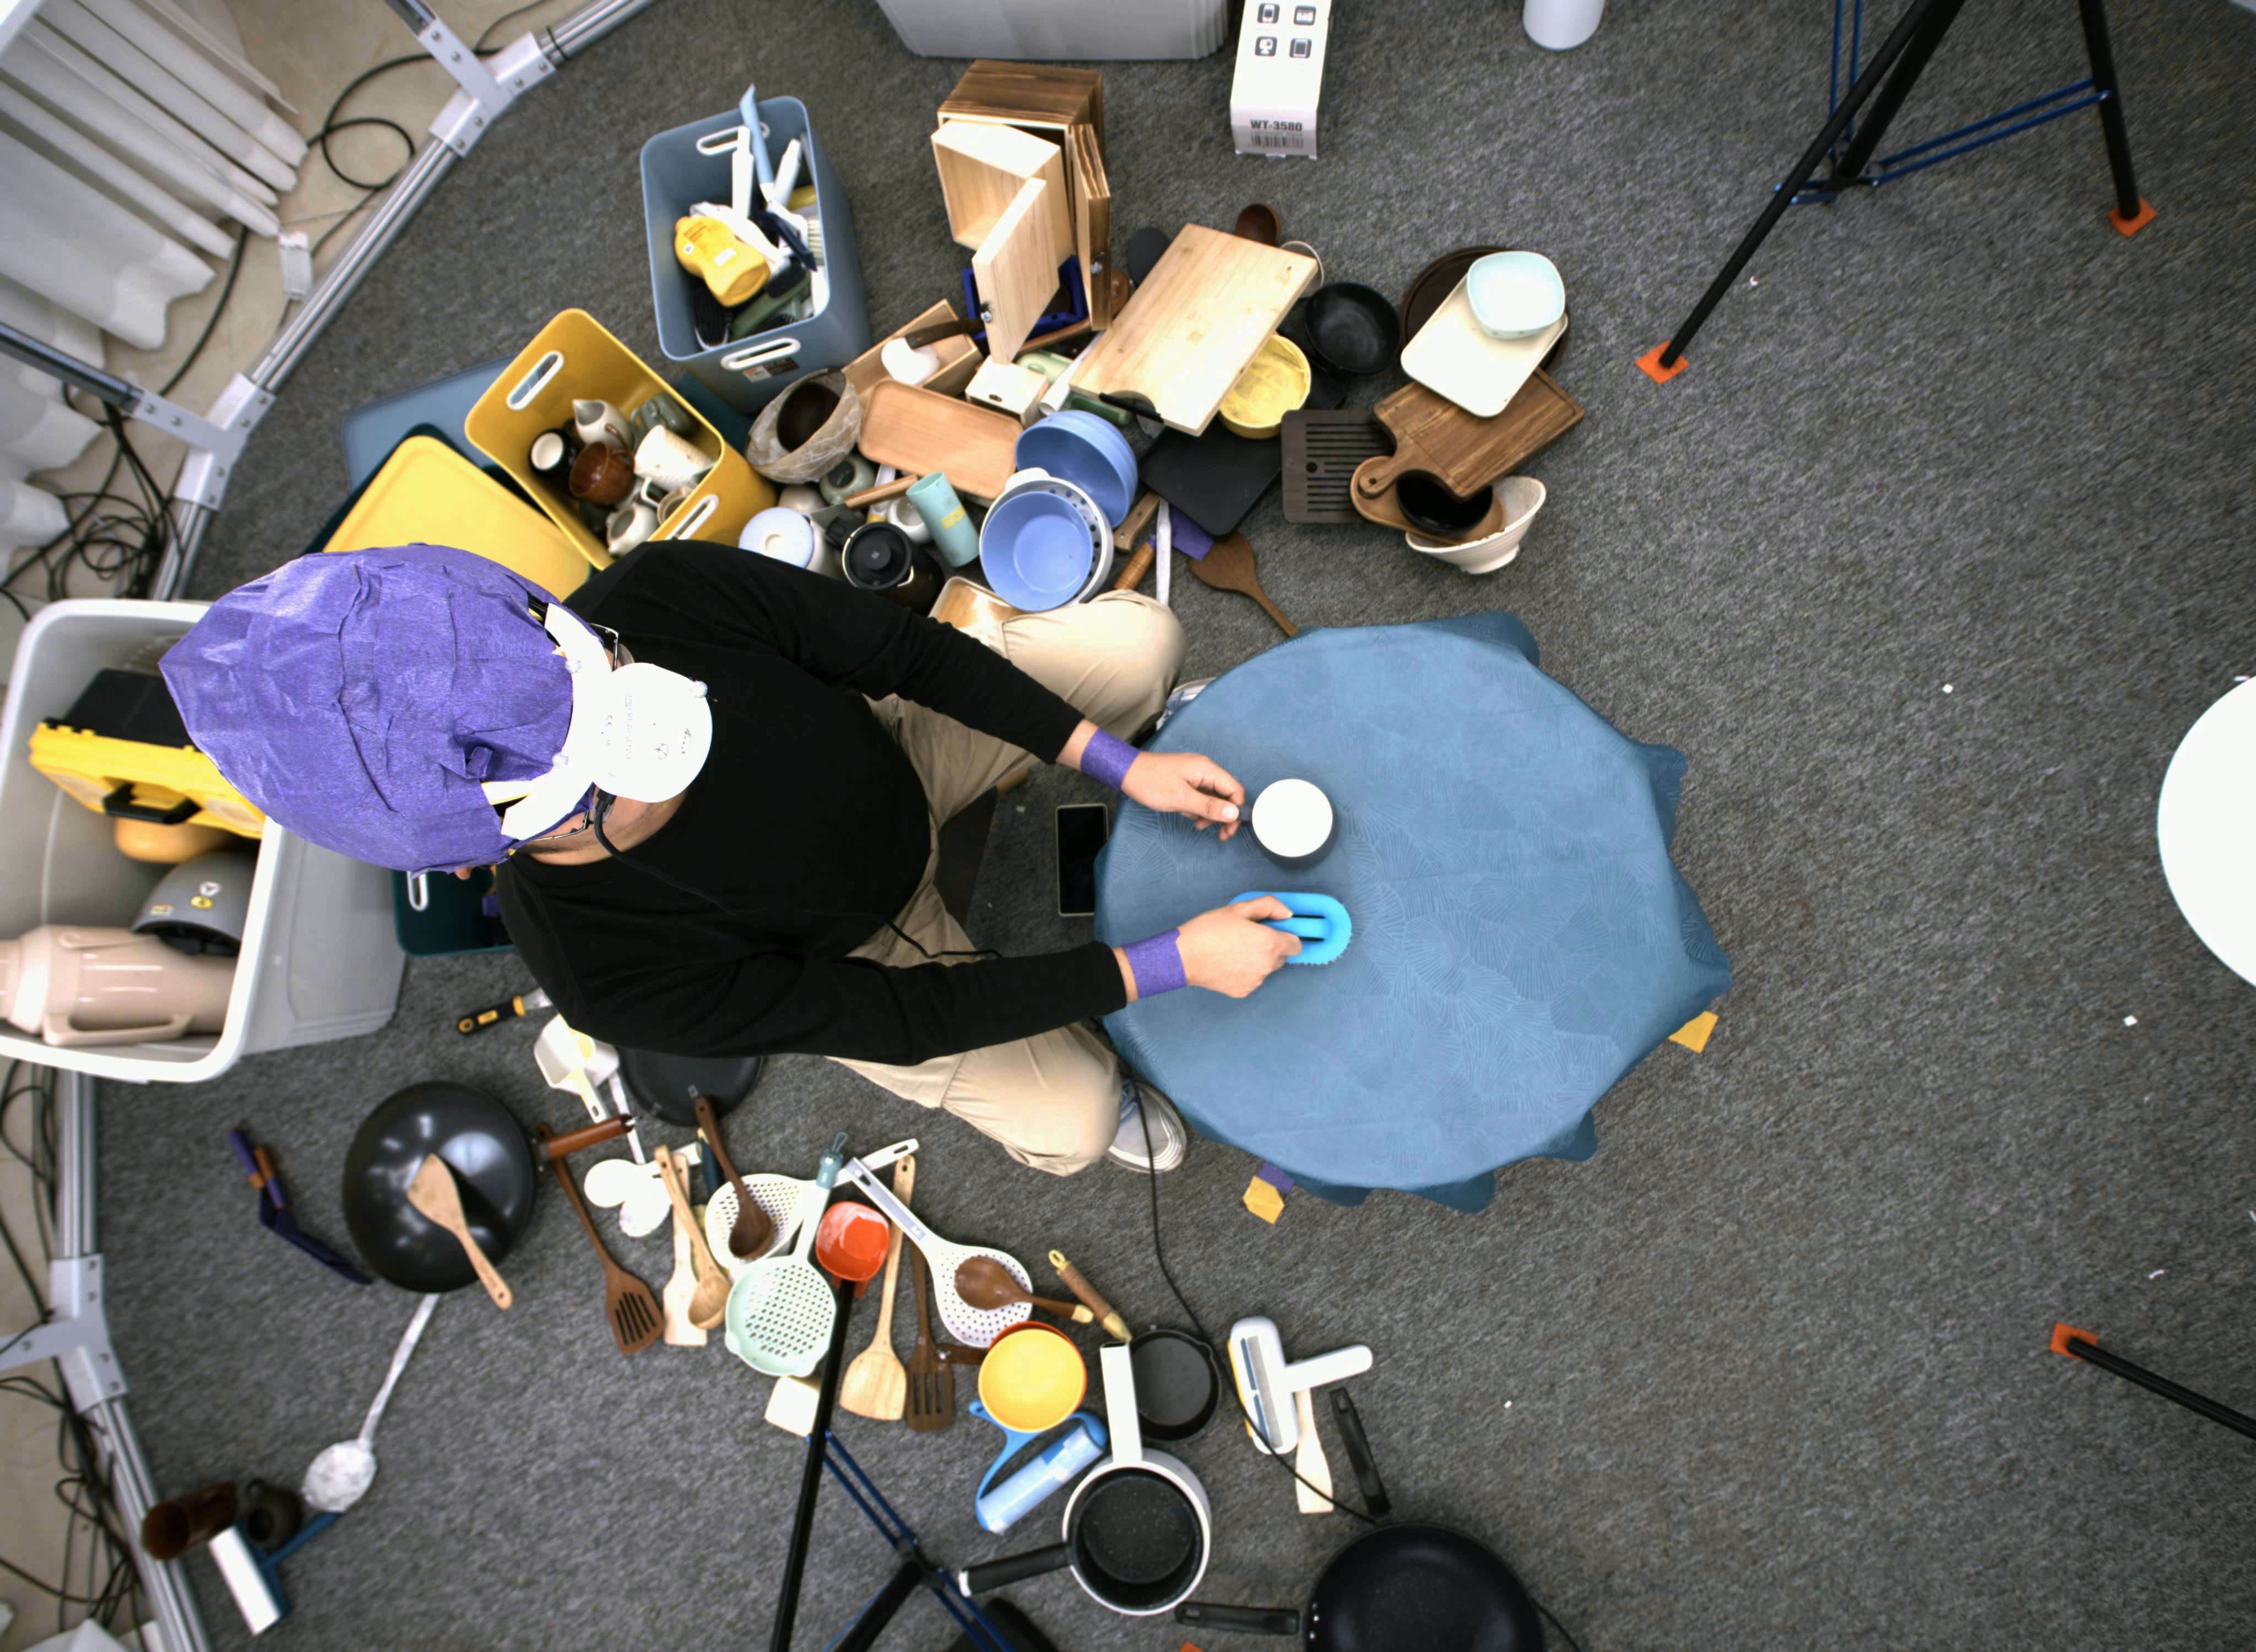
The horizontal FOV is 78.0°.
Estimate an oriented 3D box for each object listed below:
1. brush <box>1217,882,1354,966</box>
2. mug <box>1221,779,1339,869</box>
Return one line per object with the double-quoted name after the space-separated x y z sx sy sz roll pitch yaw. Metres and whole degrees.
0.163 0.101 1.443 0.142 0.063 0.084 4 91 11 "brush"
0.157 -0.008 1.436 0.123 0.090 0.093 9 86 9 "mug"
